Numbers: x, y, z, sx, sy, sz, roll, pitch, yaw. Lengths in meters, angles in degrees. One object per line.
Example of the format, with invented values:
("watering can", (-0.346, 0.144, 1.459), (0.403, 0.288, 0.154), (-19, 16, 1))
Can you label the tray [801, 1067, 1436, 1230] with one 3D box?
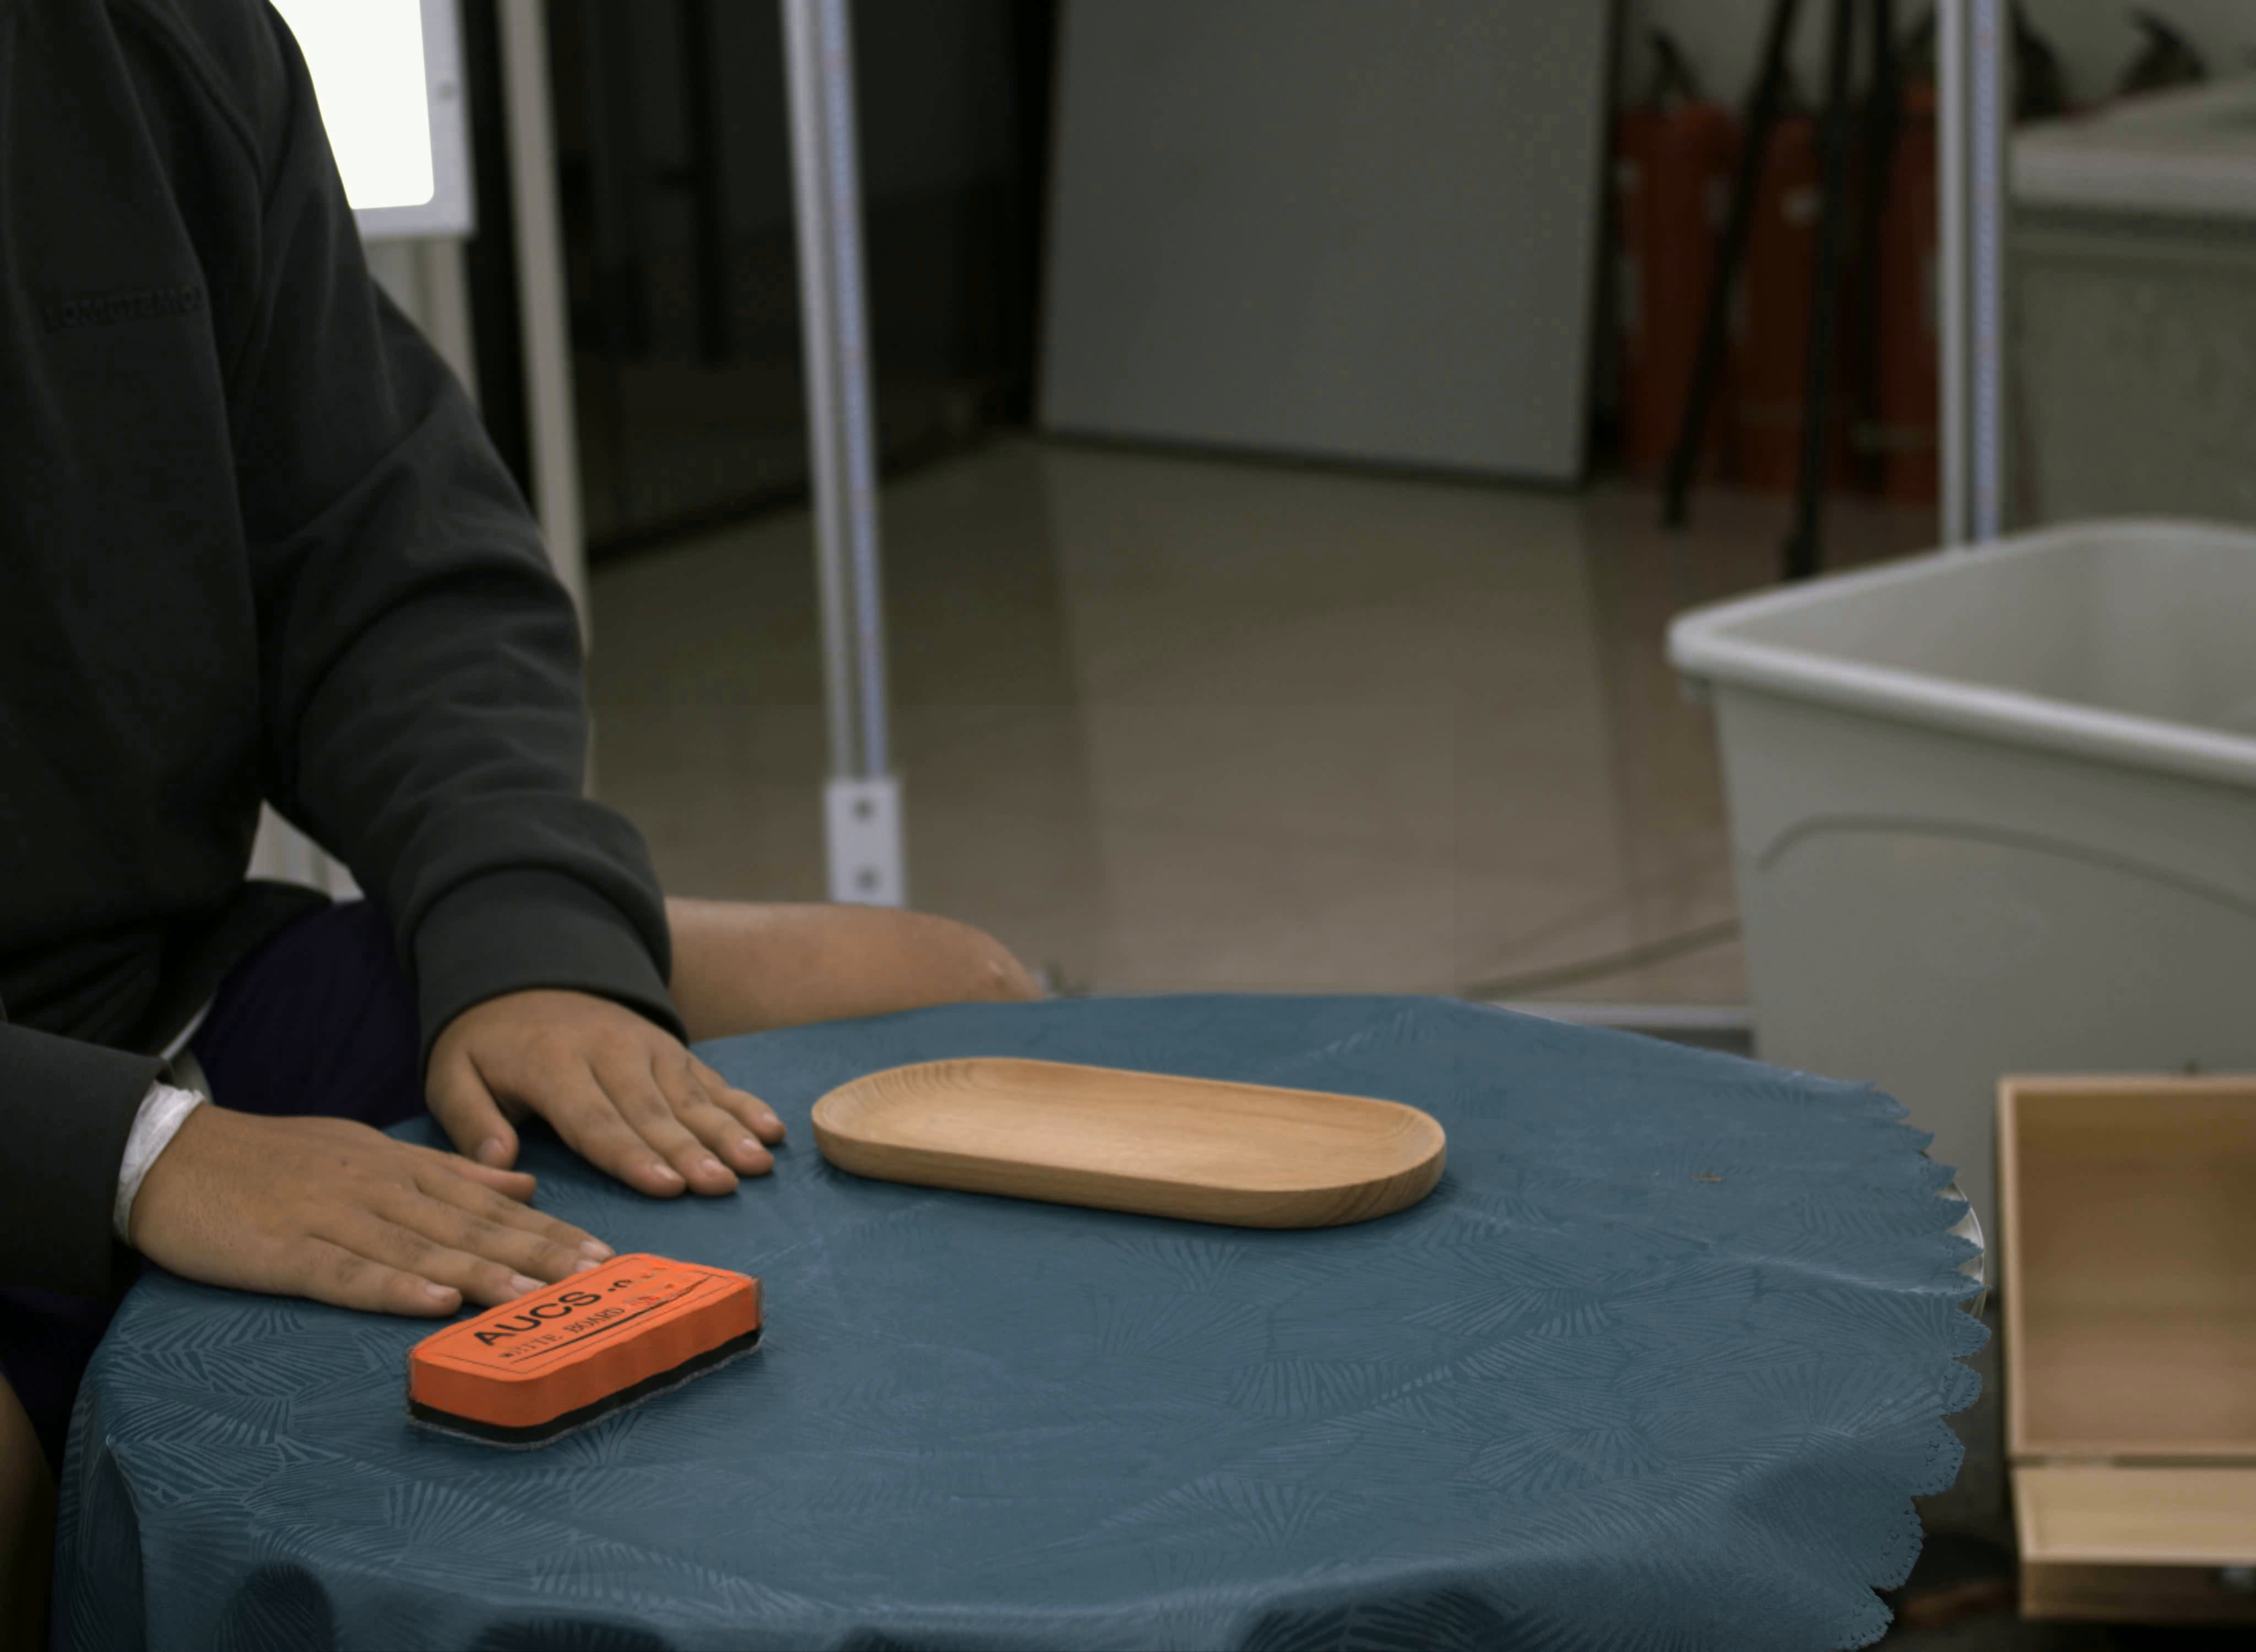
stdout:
("tray", (-0.004, 0.107, 1.795), (0.232, 0.020, 0.100), (3, 14, 31))

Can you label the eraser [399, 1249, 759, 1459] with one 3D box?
("eraser", (-0.163, 0.157, 1.618), (0.059, 0.023, 0.106), (16, 23, 37))
